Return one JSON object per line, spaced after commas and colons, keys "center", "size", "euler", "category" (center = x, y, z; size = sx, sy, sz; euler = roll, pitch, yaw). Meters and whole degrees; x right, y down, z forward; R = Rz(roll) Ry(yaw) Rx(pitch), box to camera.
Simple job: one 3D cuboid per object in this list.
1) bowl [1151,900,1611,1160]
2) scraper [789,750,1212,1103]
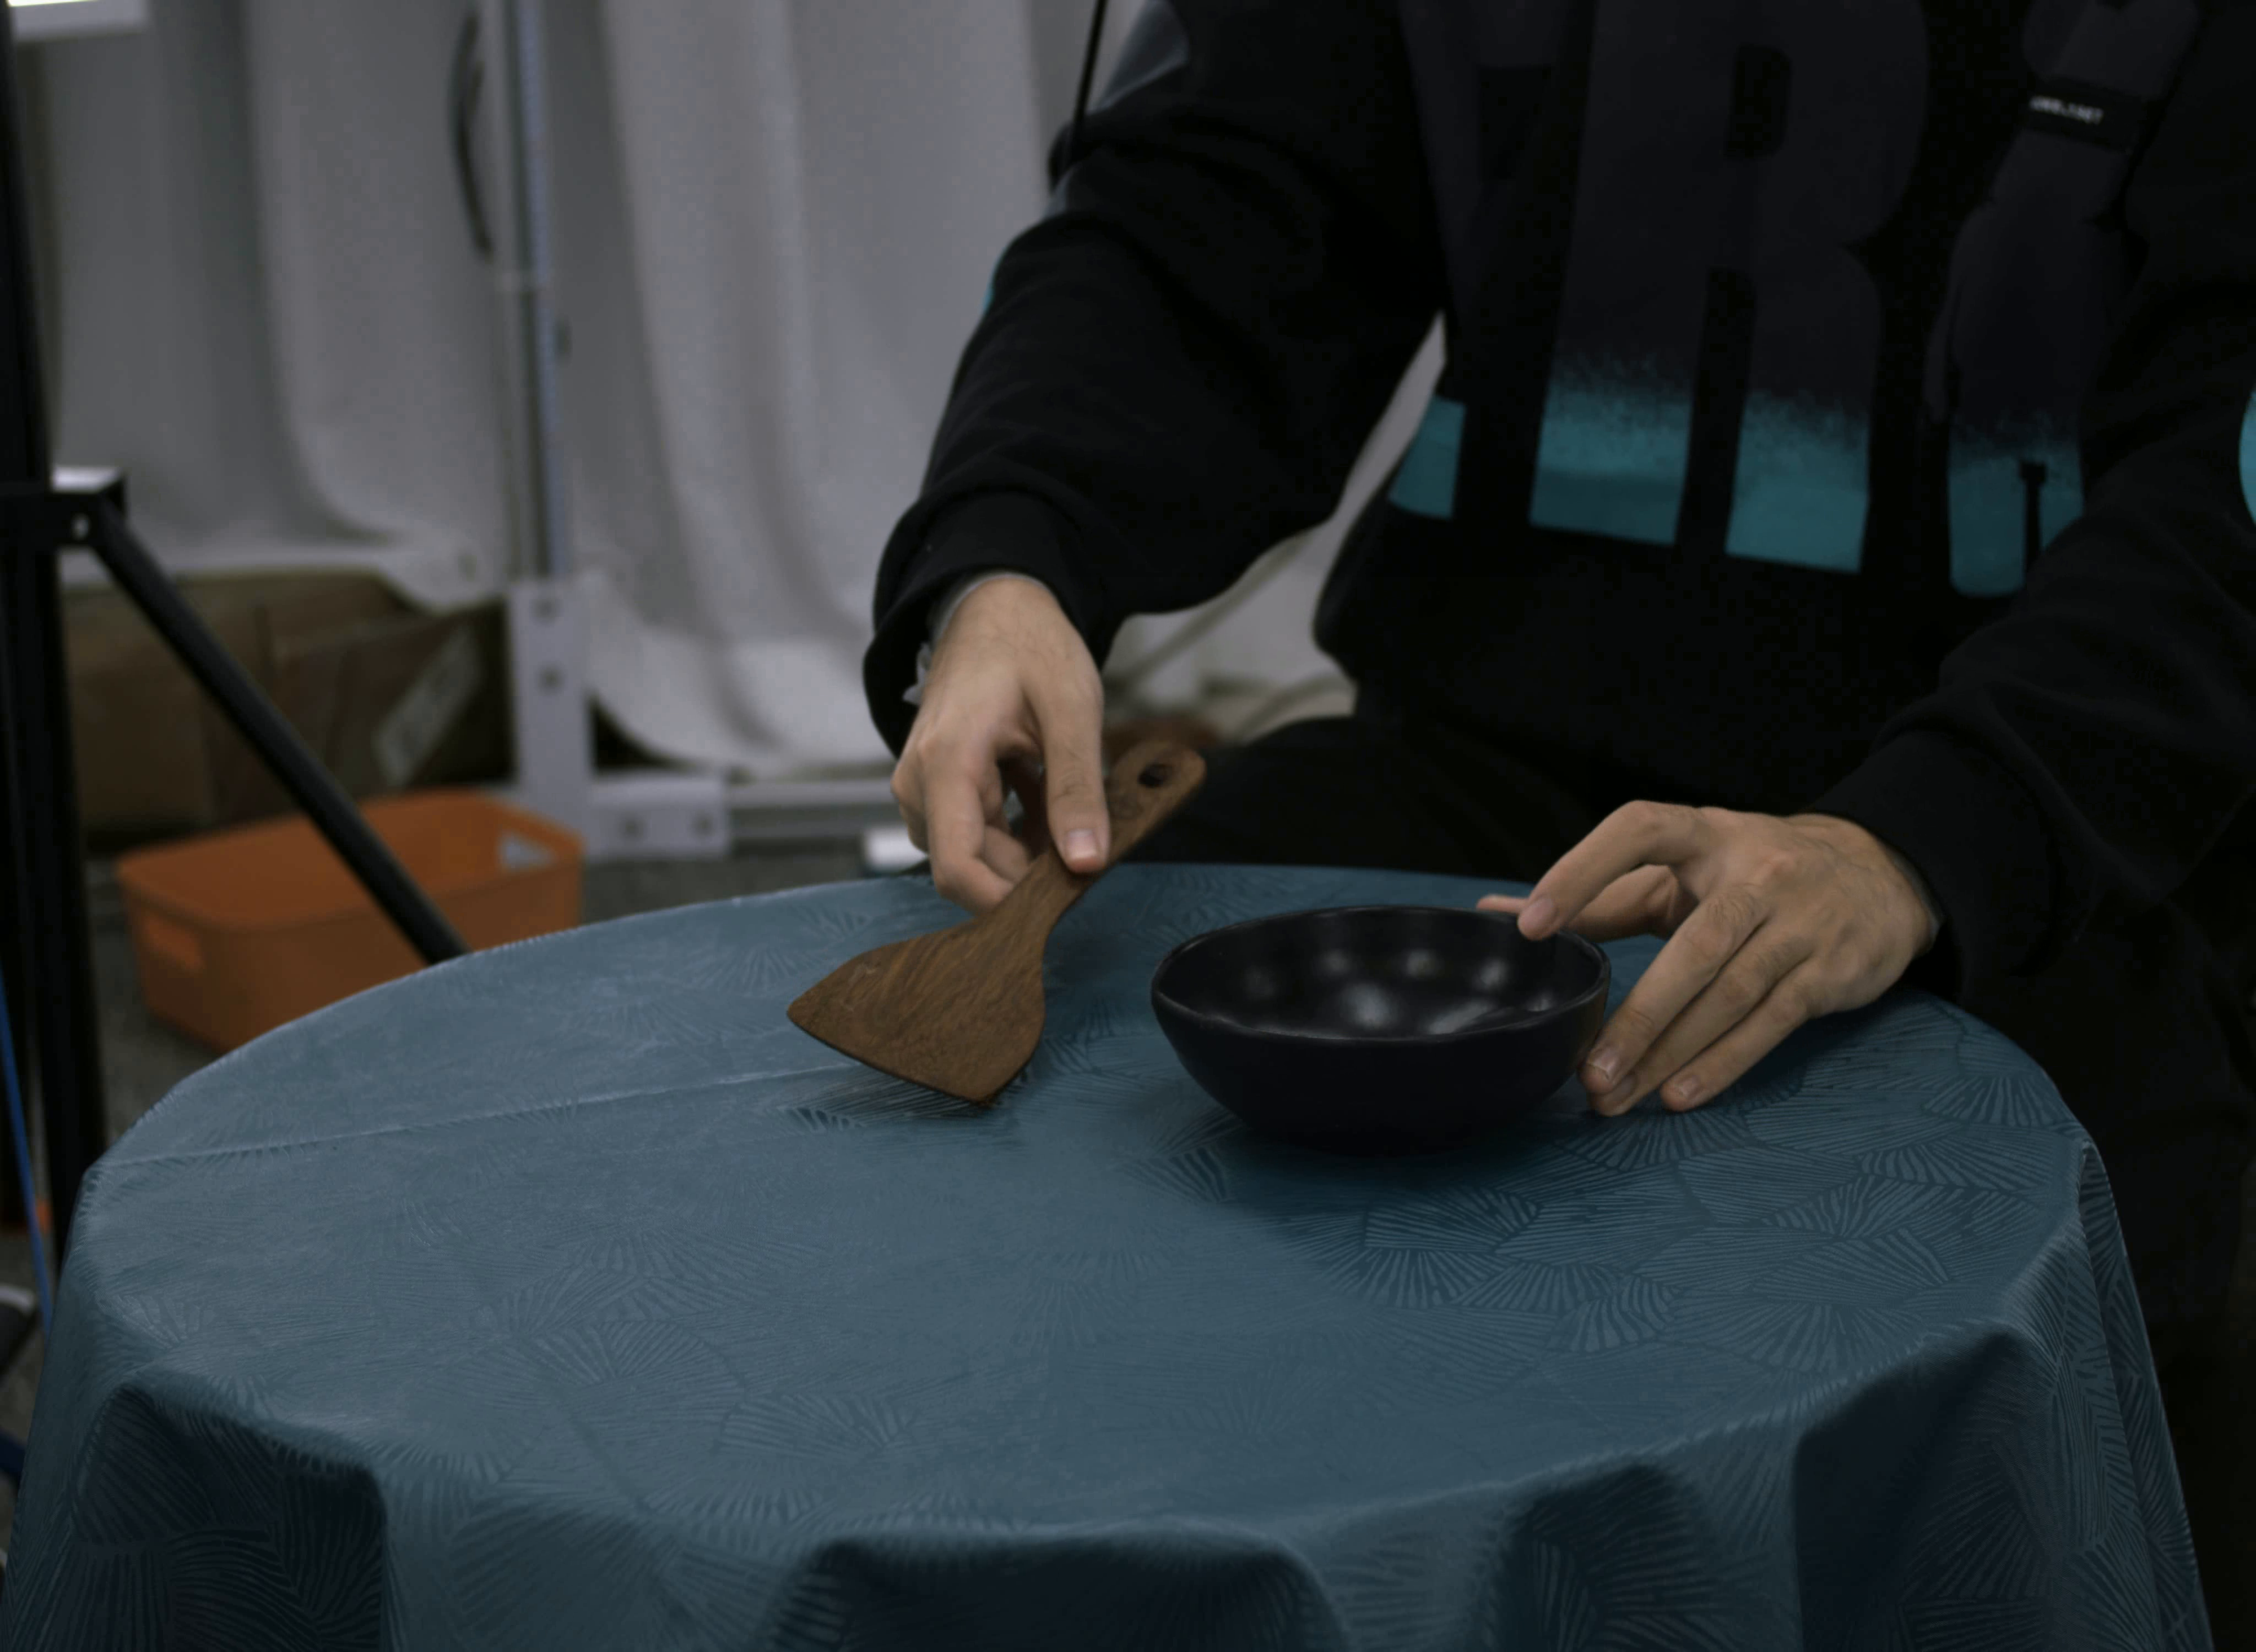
{"center": [0.078, 0.066, 1.601], "size": [0.139, 0.050, 0.141], "euler": [-6, 15, 0], "category": "bowl"}
{"center": [-0.029, 0.028, 1.713], "size": [0.077, 0.011, 0.209], "euler": [24, 38, 18], "category": "scraper"}
